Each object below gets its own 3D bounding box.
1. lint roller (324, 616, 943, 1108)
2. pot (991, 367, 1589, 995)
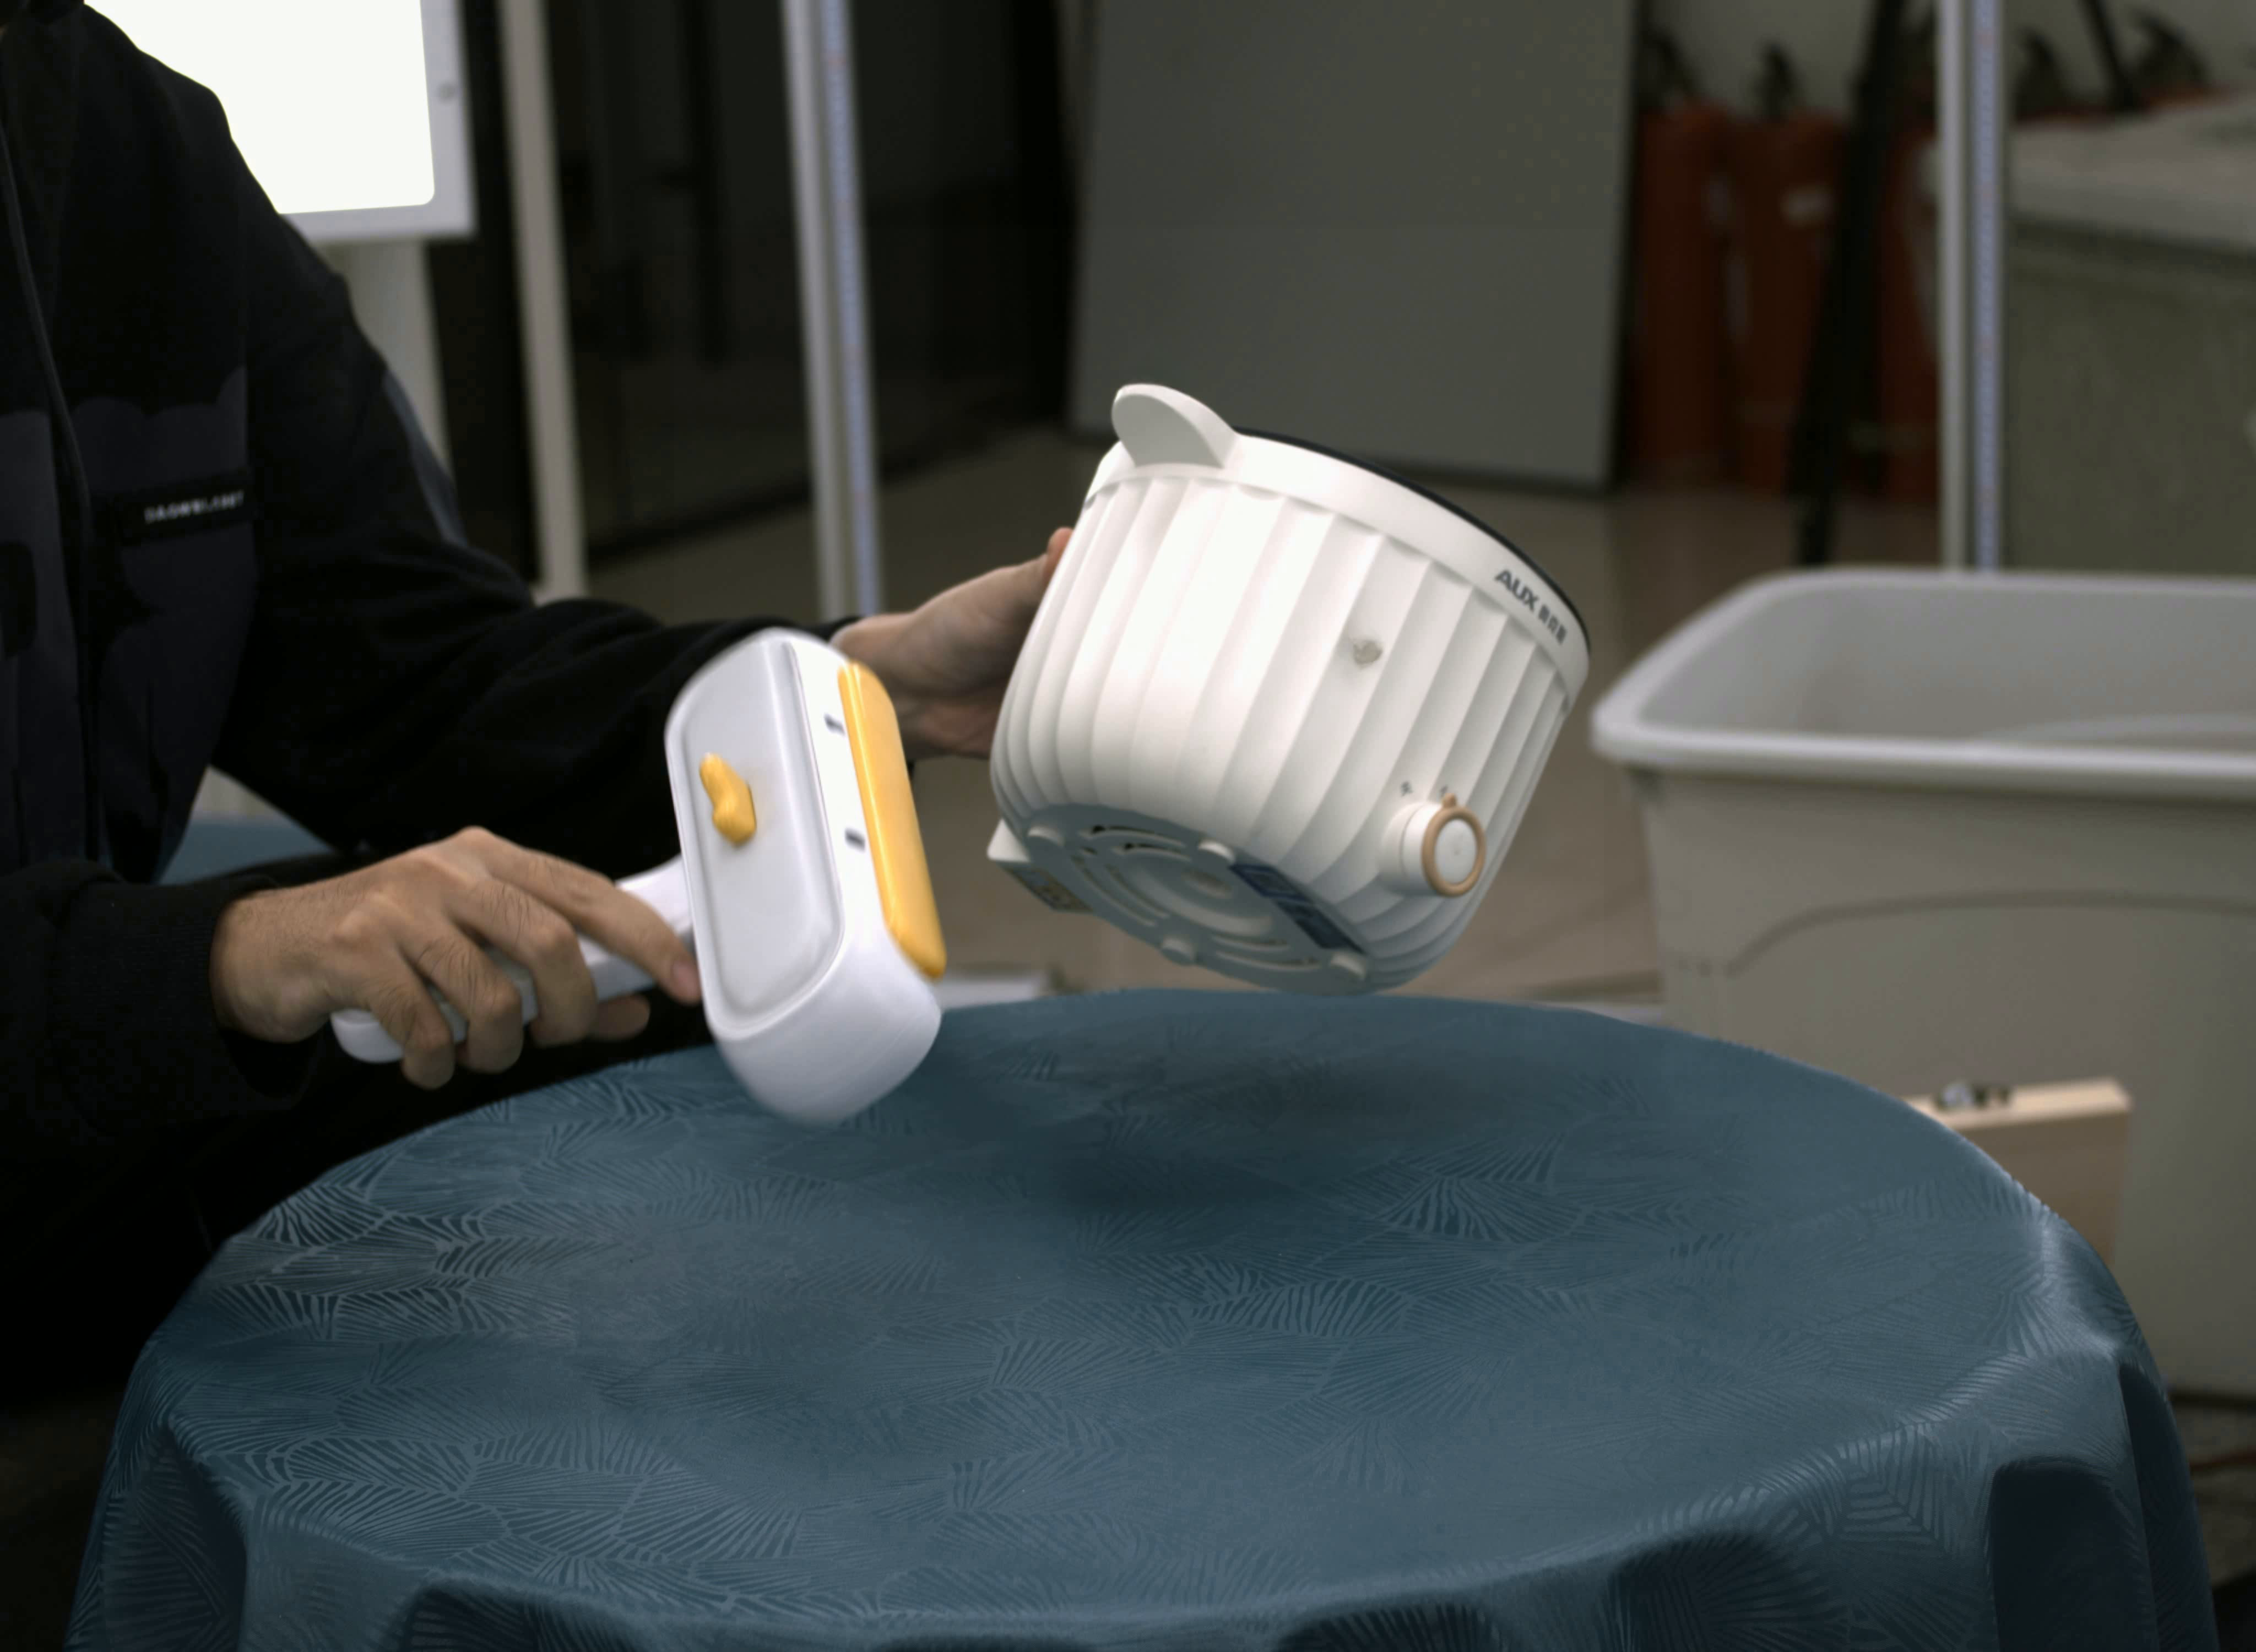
[{"bbox_3d":[-0.155,0.033,1.671,0.192,0.073,0.195,-29,41,9],"label":"lint roller"},{"bbox_3d":[0.054,-0.032,1.811,0.192,0.143,0.237,0,-30,42],"label":"pot"}]
